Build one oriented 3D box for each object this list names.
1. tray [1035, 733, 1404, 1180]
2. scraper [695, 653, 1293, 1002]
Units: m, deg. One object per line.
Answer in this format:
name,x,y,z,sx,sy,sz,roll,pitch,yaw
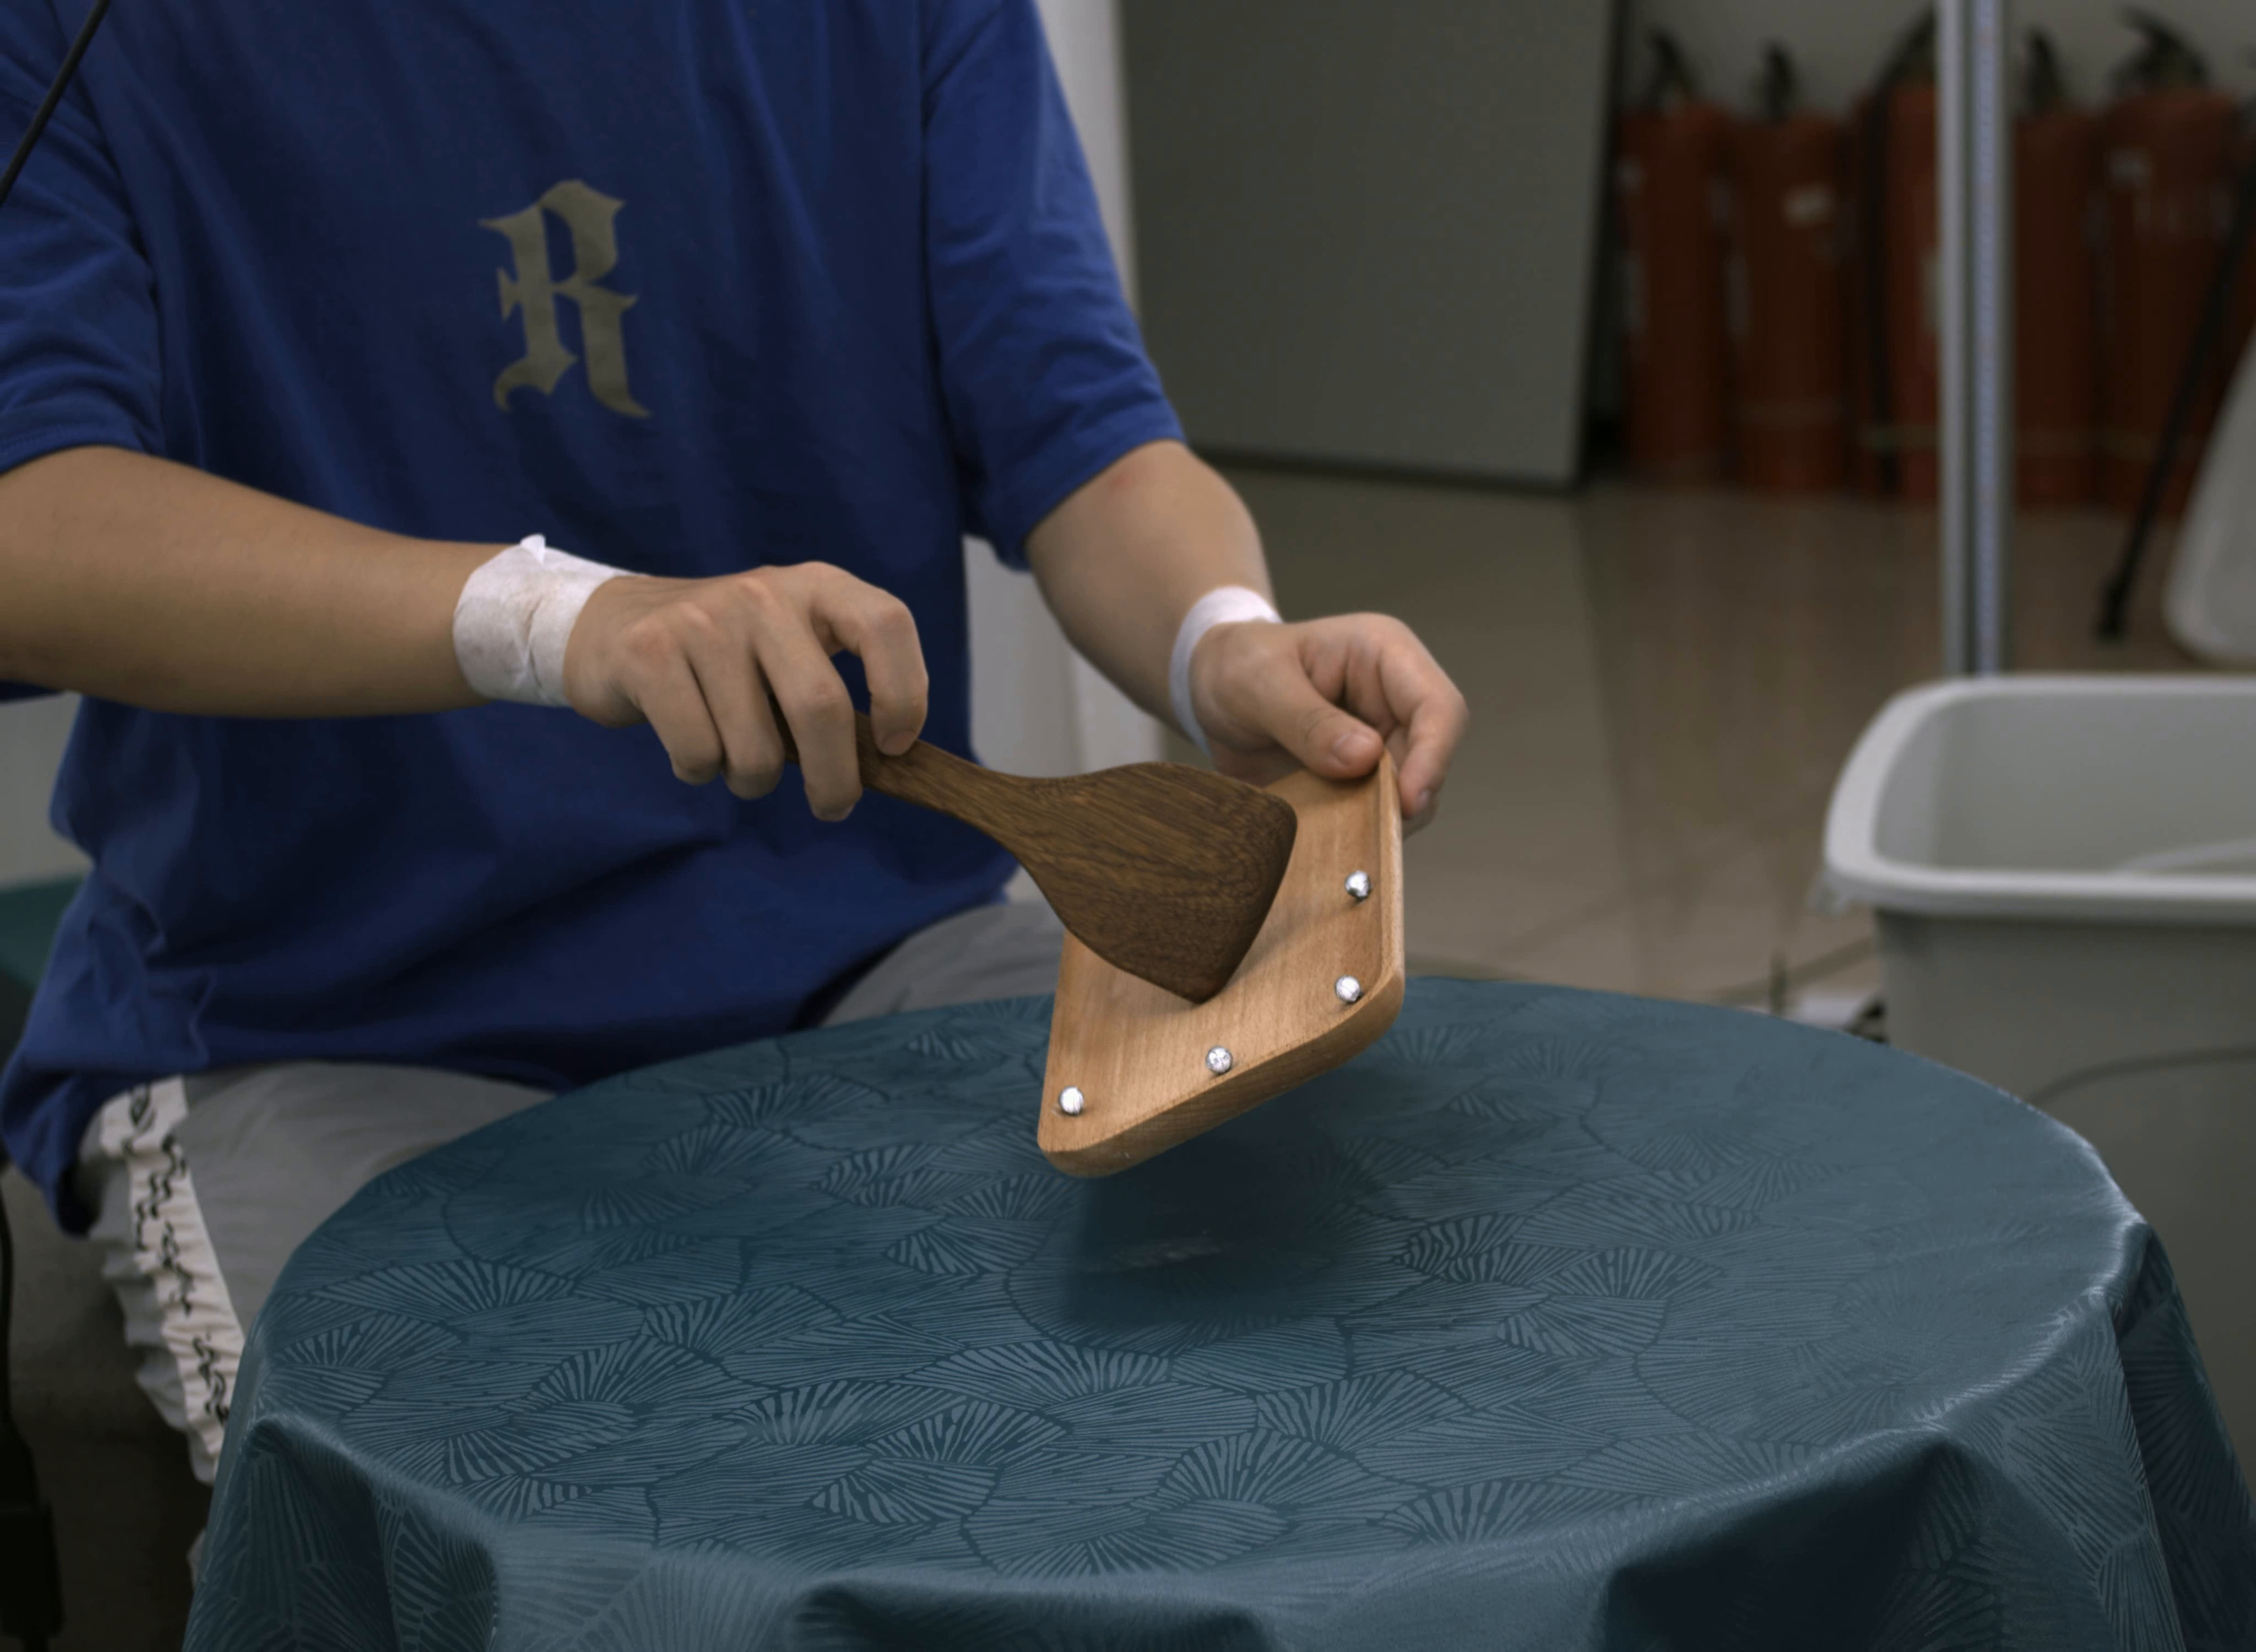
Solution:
tray,0.033,0.040,1.750,0.130,0.023,0.251,-25,17,12
scraper,-0.049,-0.011,1.758,0.211,0.076,0.011,21,-8,21
